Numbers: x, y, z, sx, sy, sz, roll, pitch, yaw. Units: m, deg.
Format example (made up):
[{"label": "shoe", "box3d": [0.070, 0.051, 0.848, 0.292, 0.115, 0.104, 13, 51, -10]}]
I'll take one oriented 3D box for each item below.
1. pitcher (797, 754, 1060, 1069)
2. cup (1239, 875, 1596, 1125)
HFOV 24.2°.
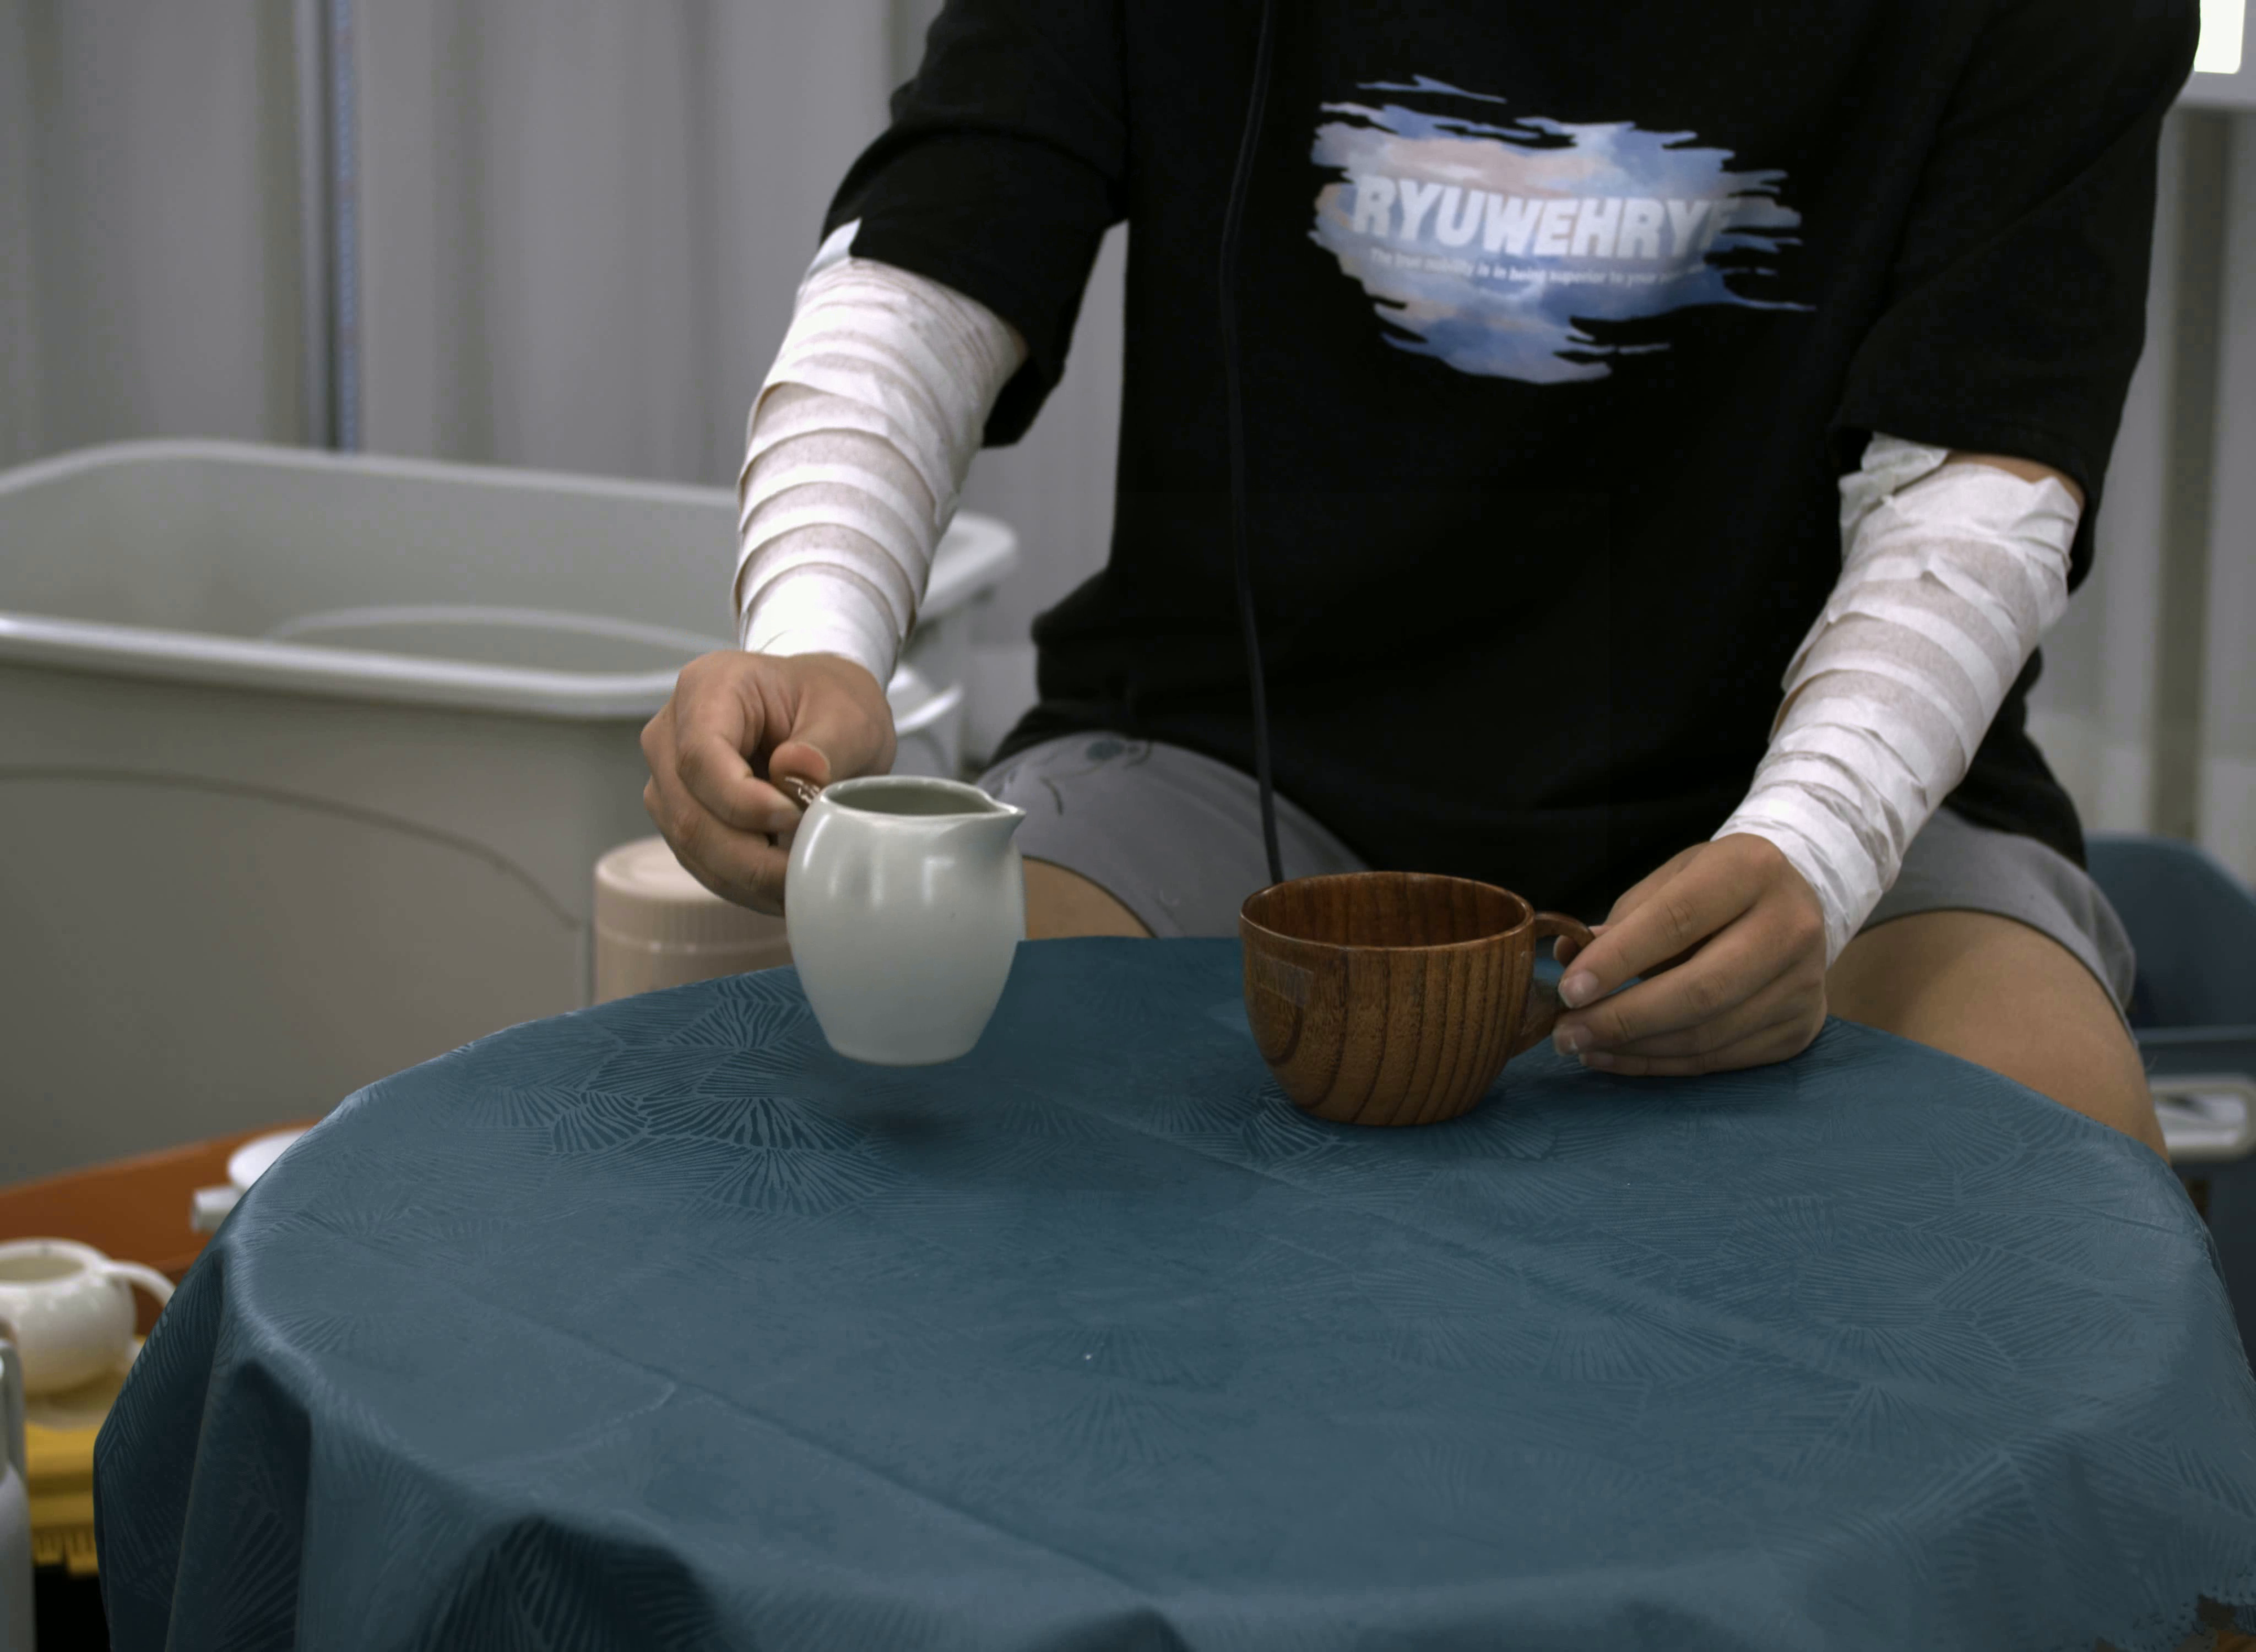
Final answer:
[{"label": "pitcher", "box3d": [-0.069, 0.026, 1.661, 0.076, 0.088, 0.117, -6, 21, -43]}, {"label": "cup", "box3d": [0.095, 0.058, 1.706, 0.119, 0.068, 0.095, -1, 12, -13]}]
